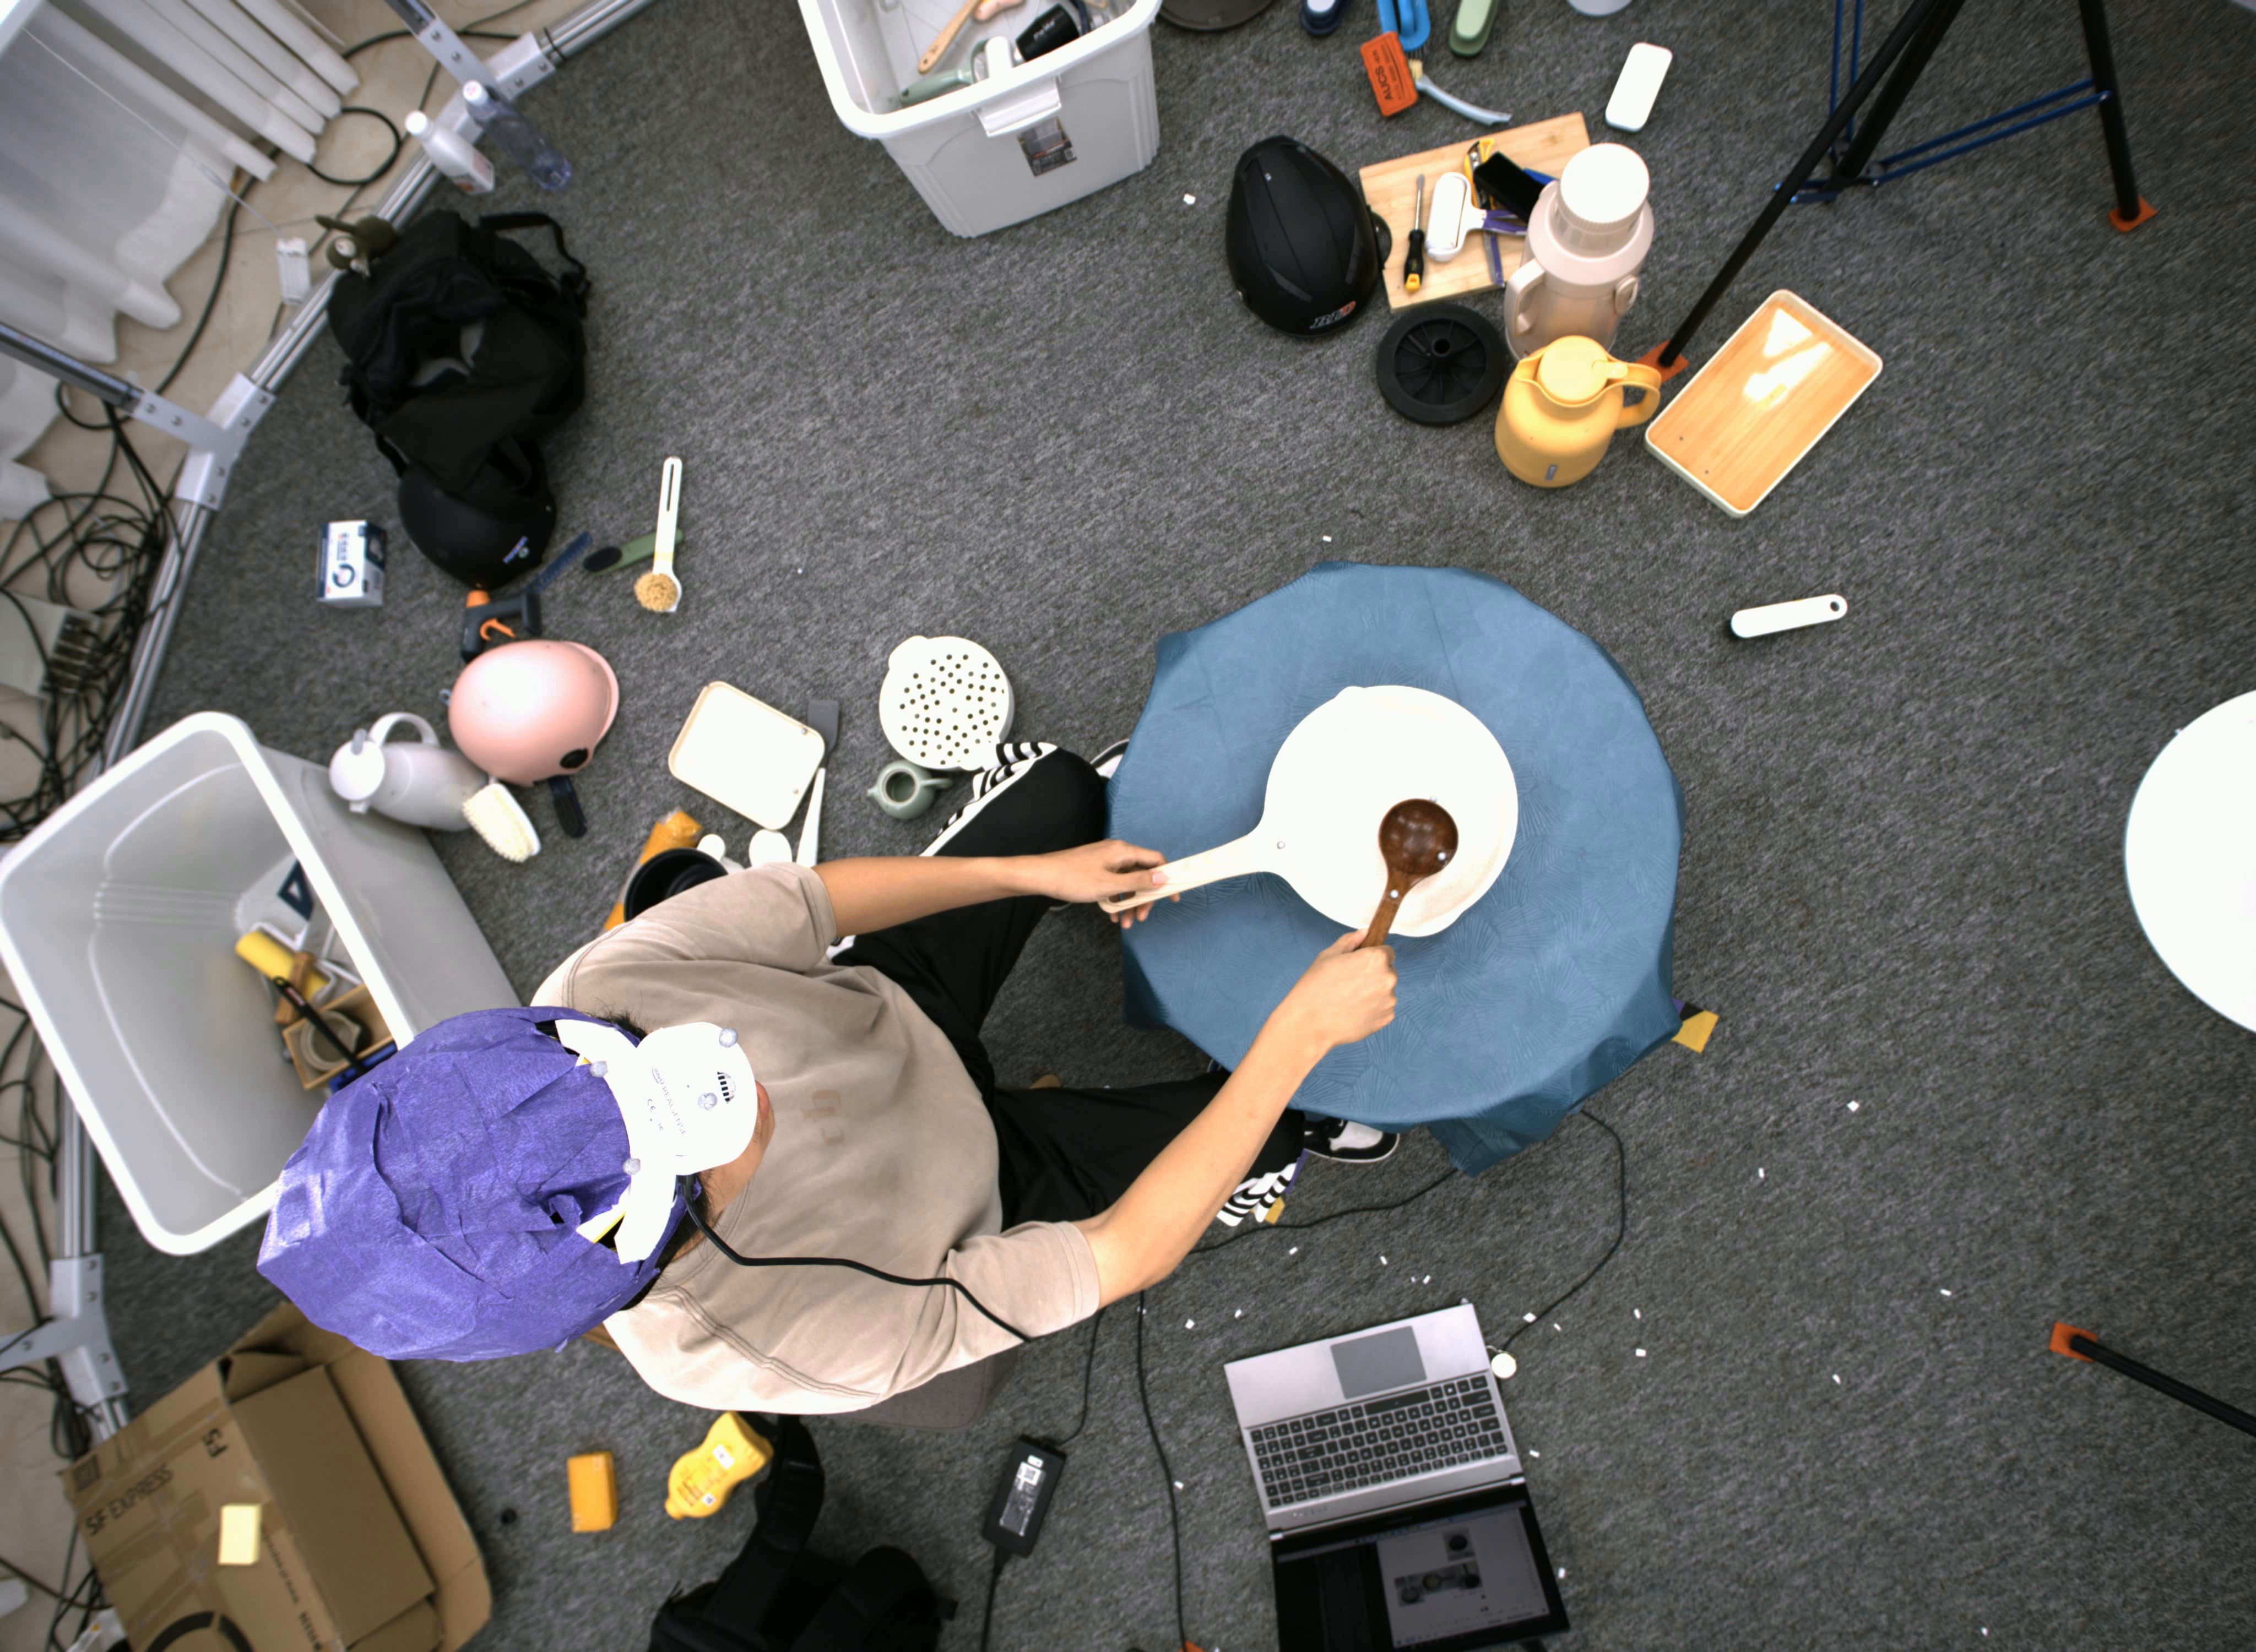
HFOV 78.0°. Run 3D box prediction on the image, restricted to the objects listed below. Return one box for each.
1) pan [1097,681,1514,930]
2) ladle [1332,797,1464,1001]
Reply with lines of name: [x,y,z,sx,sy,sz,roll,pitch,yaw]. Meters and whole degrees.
pan: [0.180,0.010,1.432,0.437,0.102,0.262,-19,85,9]
ladle: [0.256,0.061,1.322,0.082,0.267,0.078,19,127,17]
